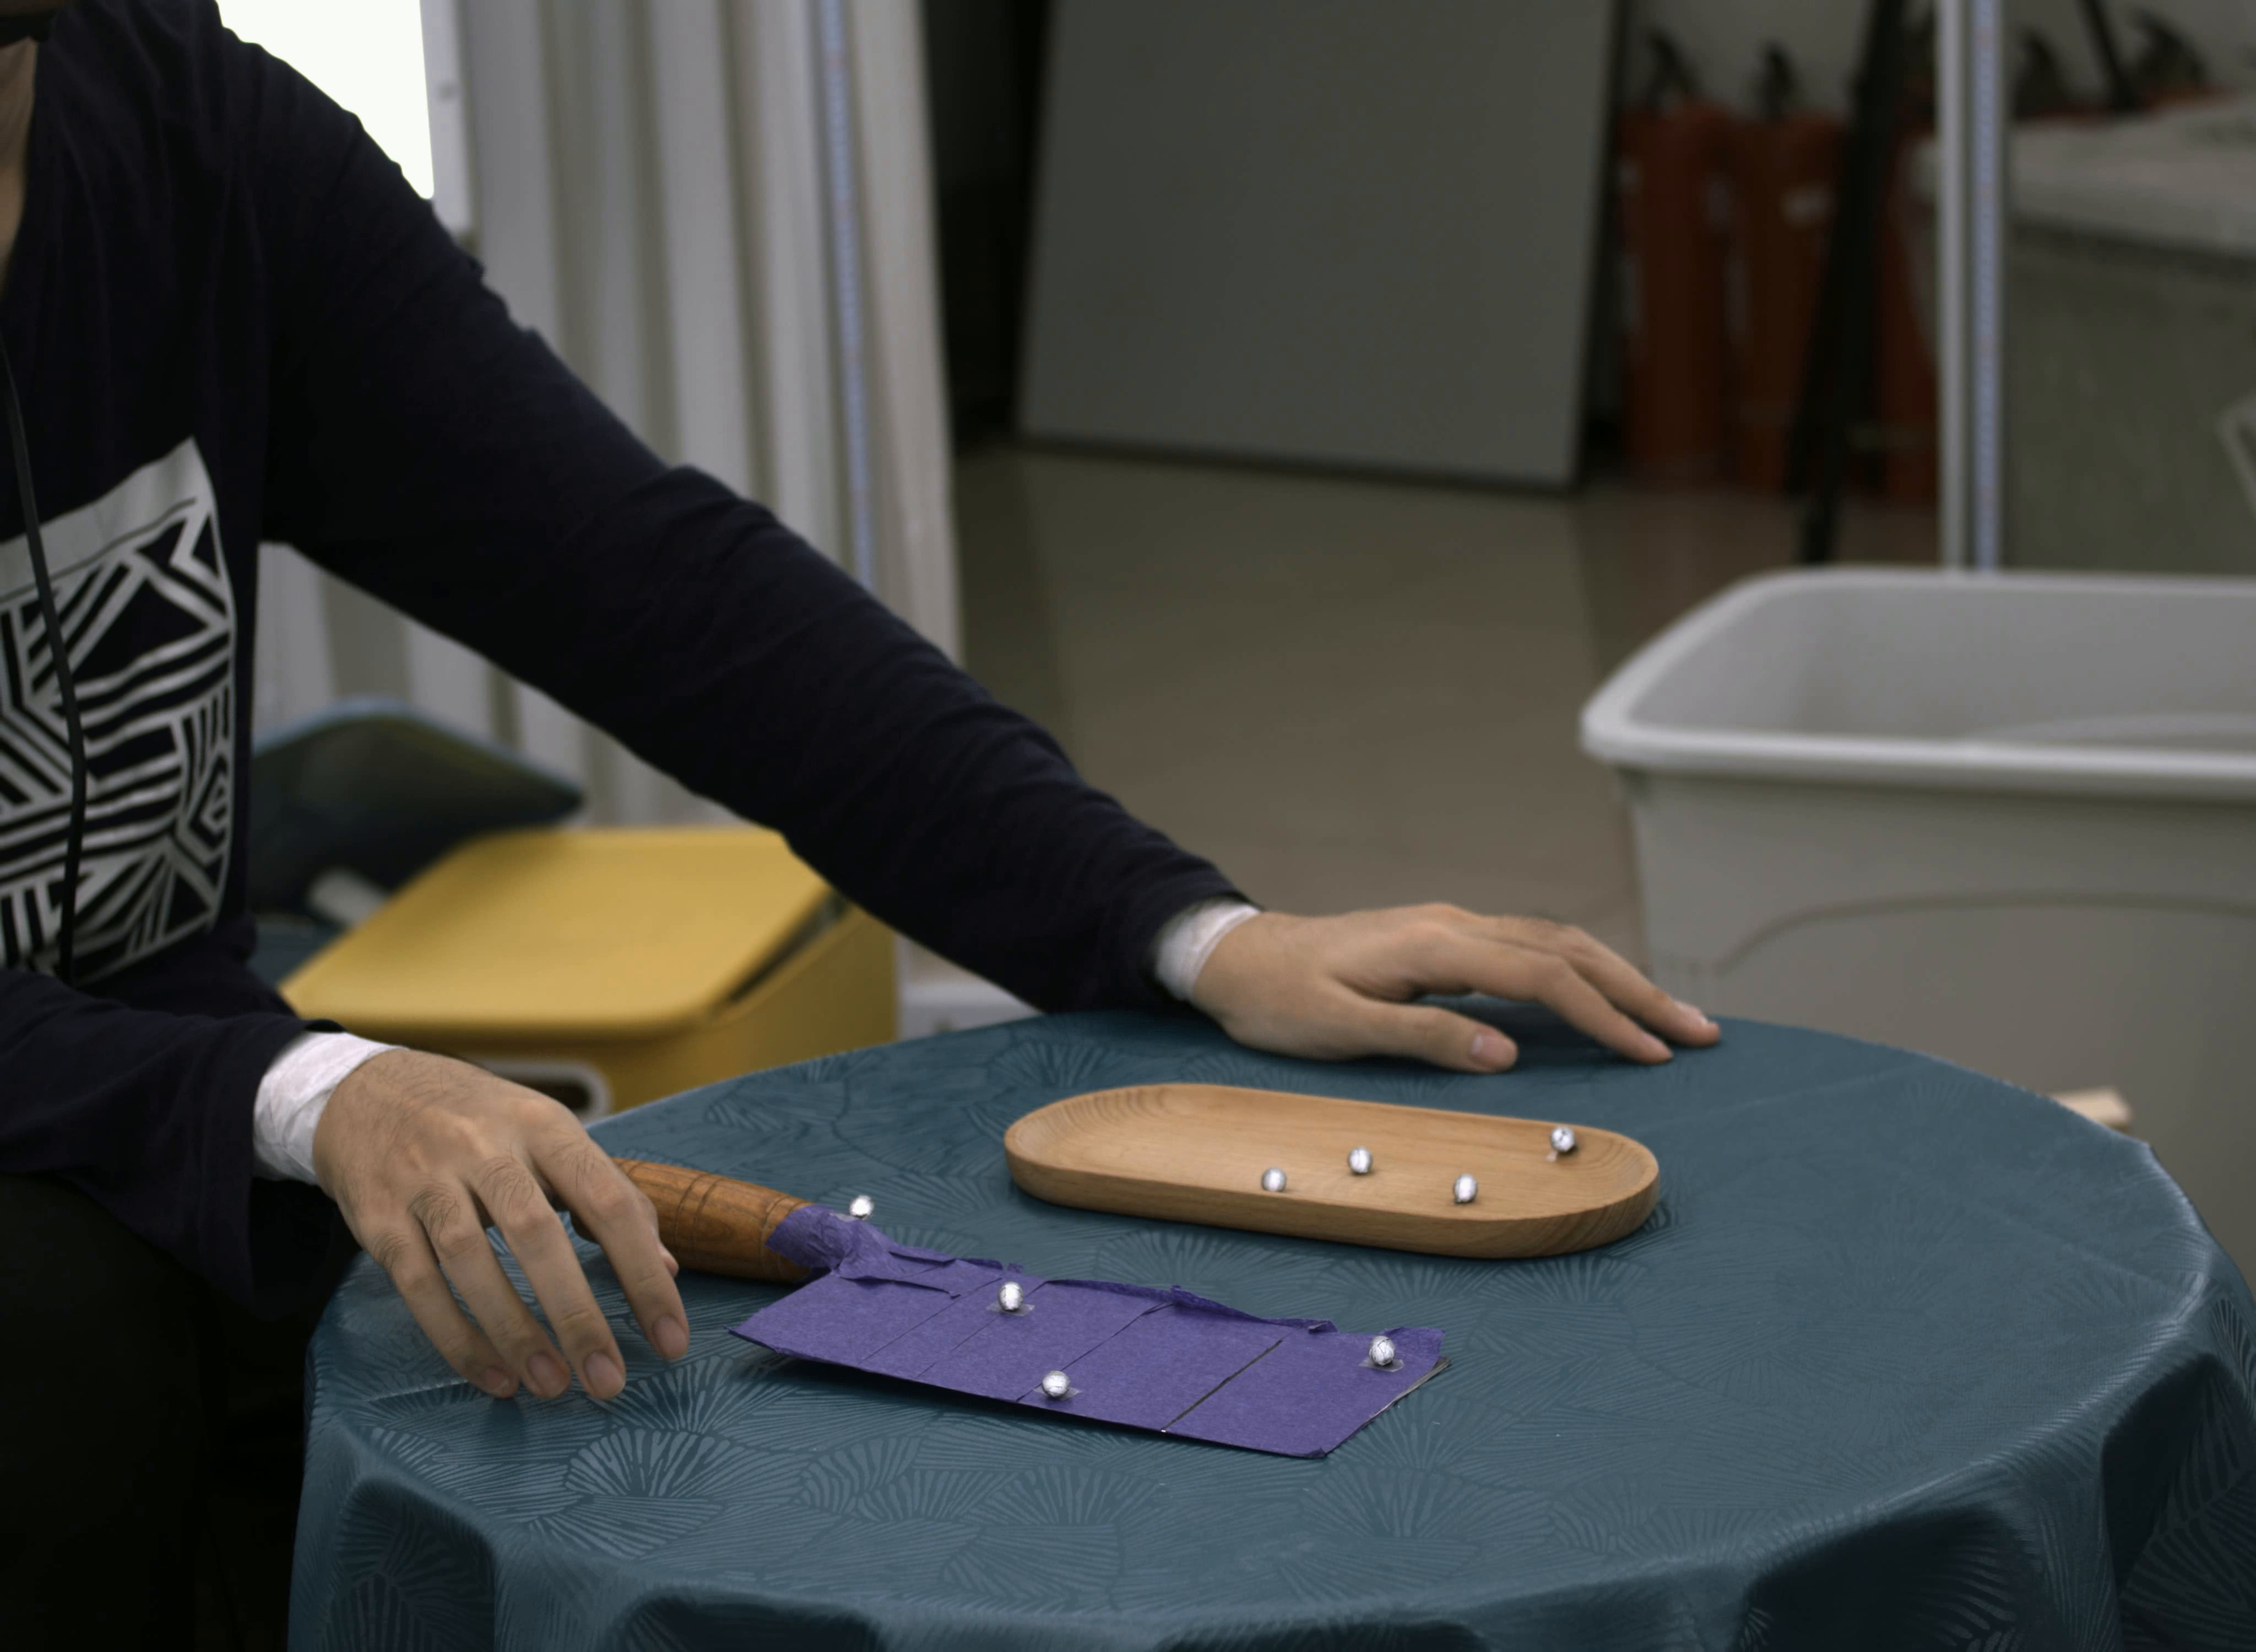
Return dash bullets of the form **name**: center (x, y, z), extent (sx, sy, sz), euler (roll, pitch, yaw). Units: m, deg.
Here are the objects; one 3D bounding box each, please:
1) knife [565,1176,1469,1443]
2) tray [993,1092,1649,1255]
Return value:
- **knife**: center (-0.055, 0.145, 1.634), extent (0.316, 0.032, 0.102), euler (5, 16, 31)
- **tray**: center (0.062, 0.113, 1.758), extent (0.232, 0.020, 0.100), euler (2, 14, 31)
